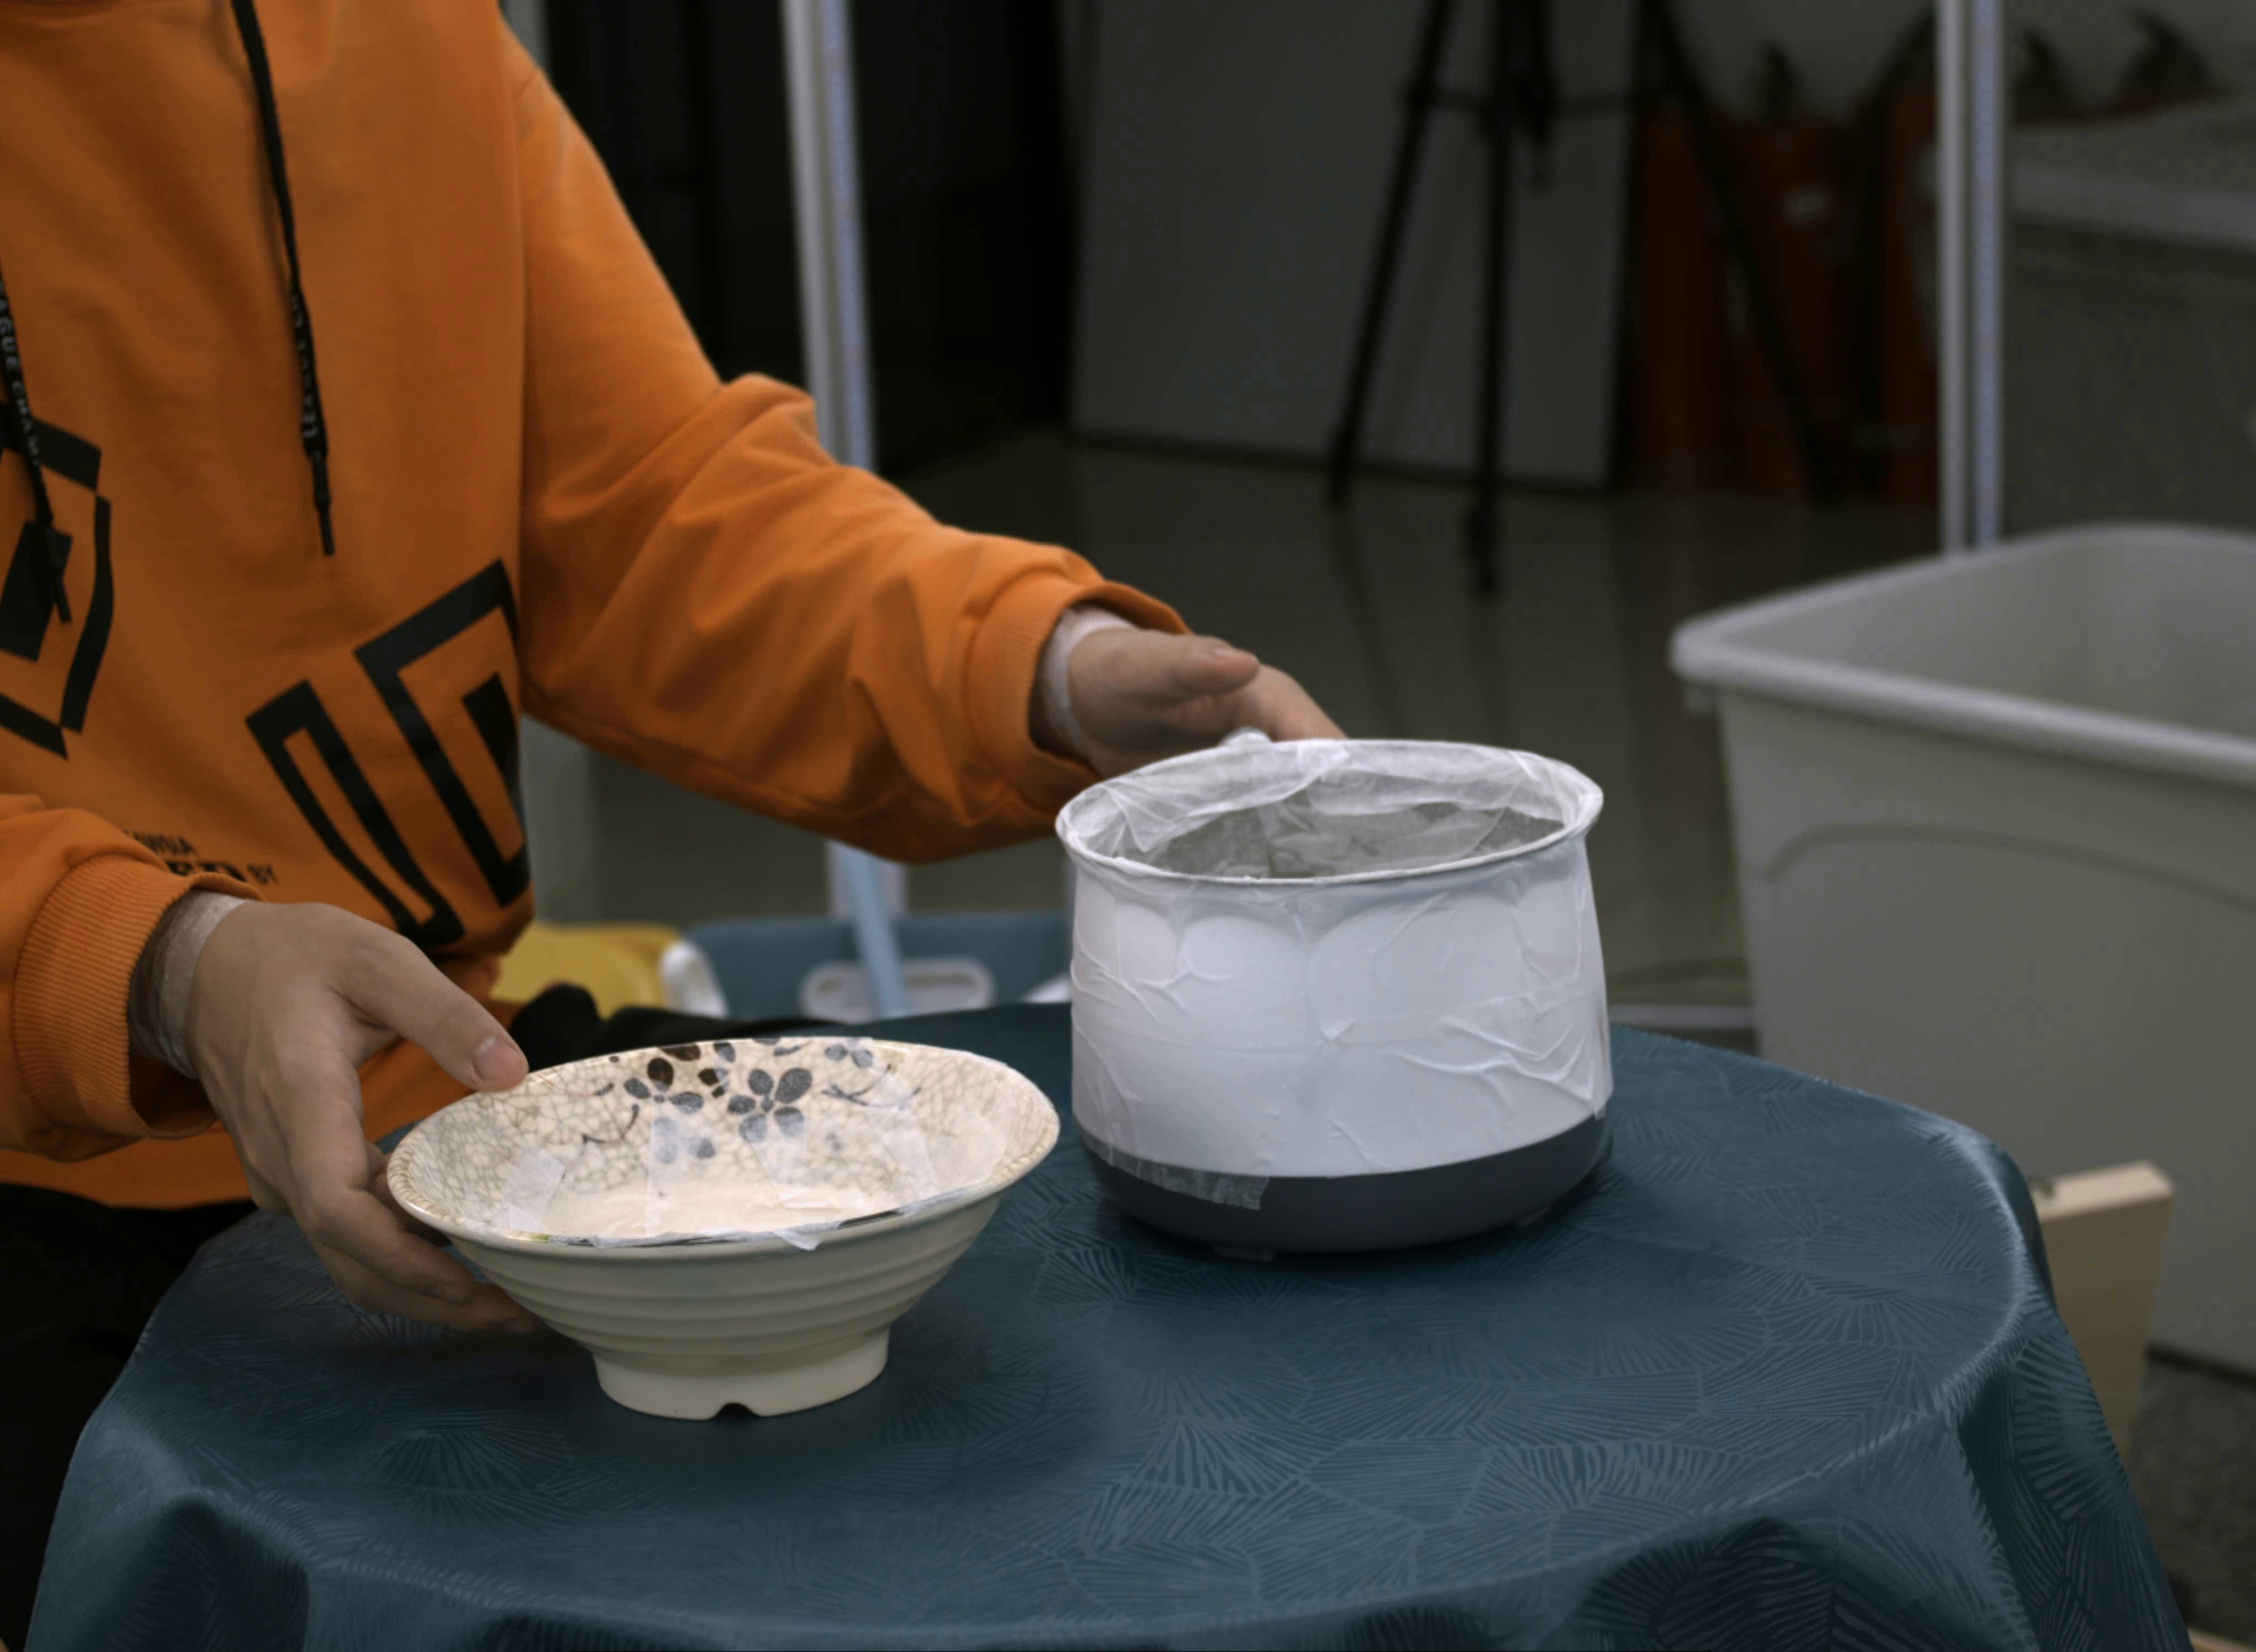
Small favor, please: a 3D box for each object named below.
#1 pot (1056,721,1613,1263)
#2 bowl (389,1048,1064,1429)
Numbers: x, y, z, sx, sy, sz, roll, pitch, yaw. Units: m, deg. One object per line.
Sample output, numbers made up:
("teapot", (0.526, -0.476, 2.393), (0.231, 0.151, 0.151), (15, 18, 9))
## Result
("pot", (0.060, 0.048, 1.761), (0.175, 0.138, 0.235), (-7, 14, -14))
("bowl", (-0.116, 0.129, 1.615), (0.201, 0.079, 0.204), (-6, 12, 0))
